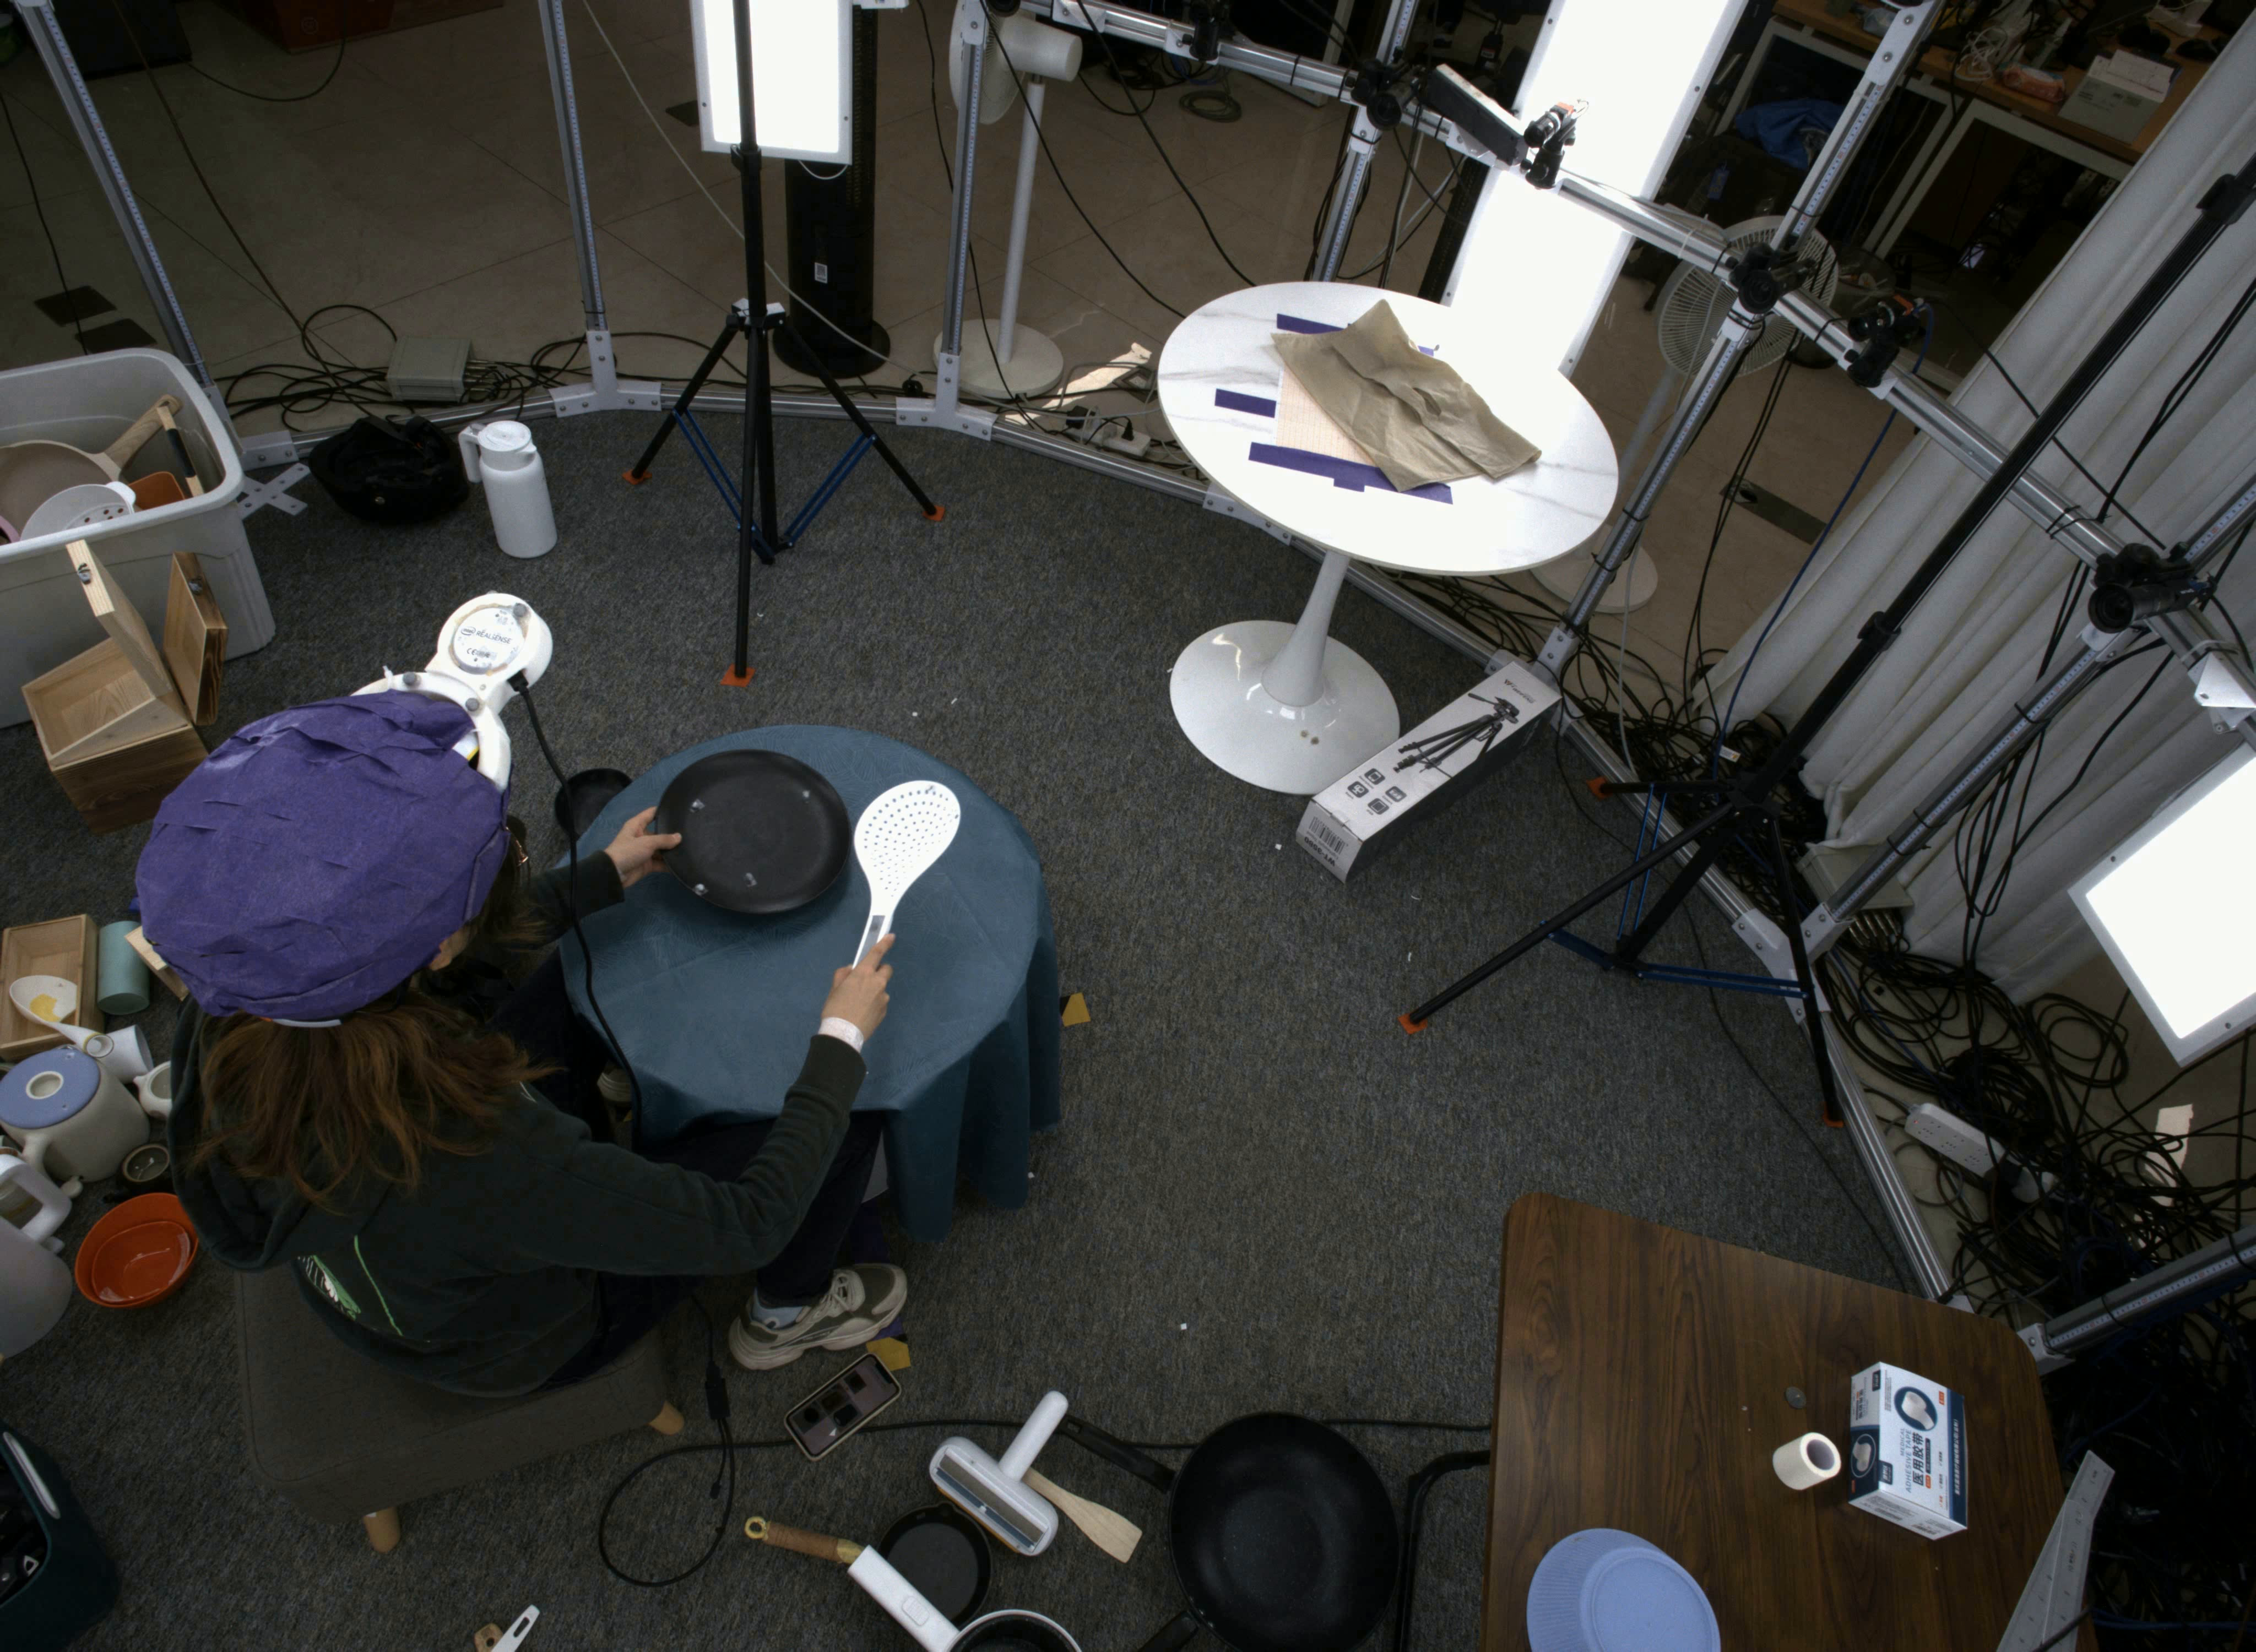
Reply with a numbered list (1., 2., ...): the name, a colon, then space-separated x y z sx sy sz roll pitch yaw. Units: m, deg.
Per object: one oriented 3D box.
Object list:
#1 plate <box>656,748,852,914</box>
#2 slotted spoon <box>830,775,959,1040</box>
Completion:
1. plate: -0.475 0.007 1.645 0.246 0.023 0.240 13 56 -17
2. slotted spoon: -0.285 0.087 1.523 0.132 0.047 0.345 0 52 19
